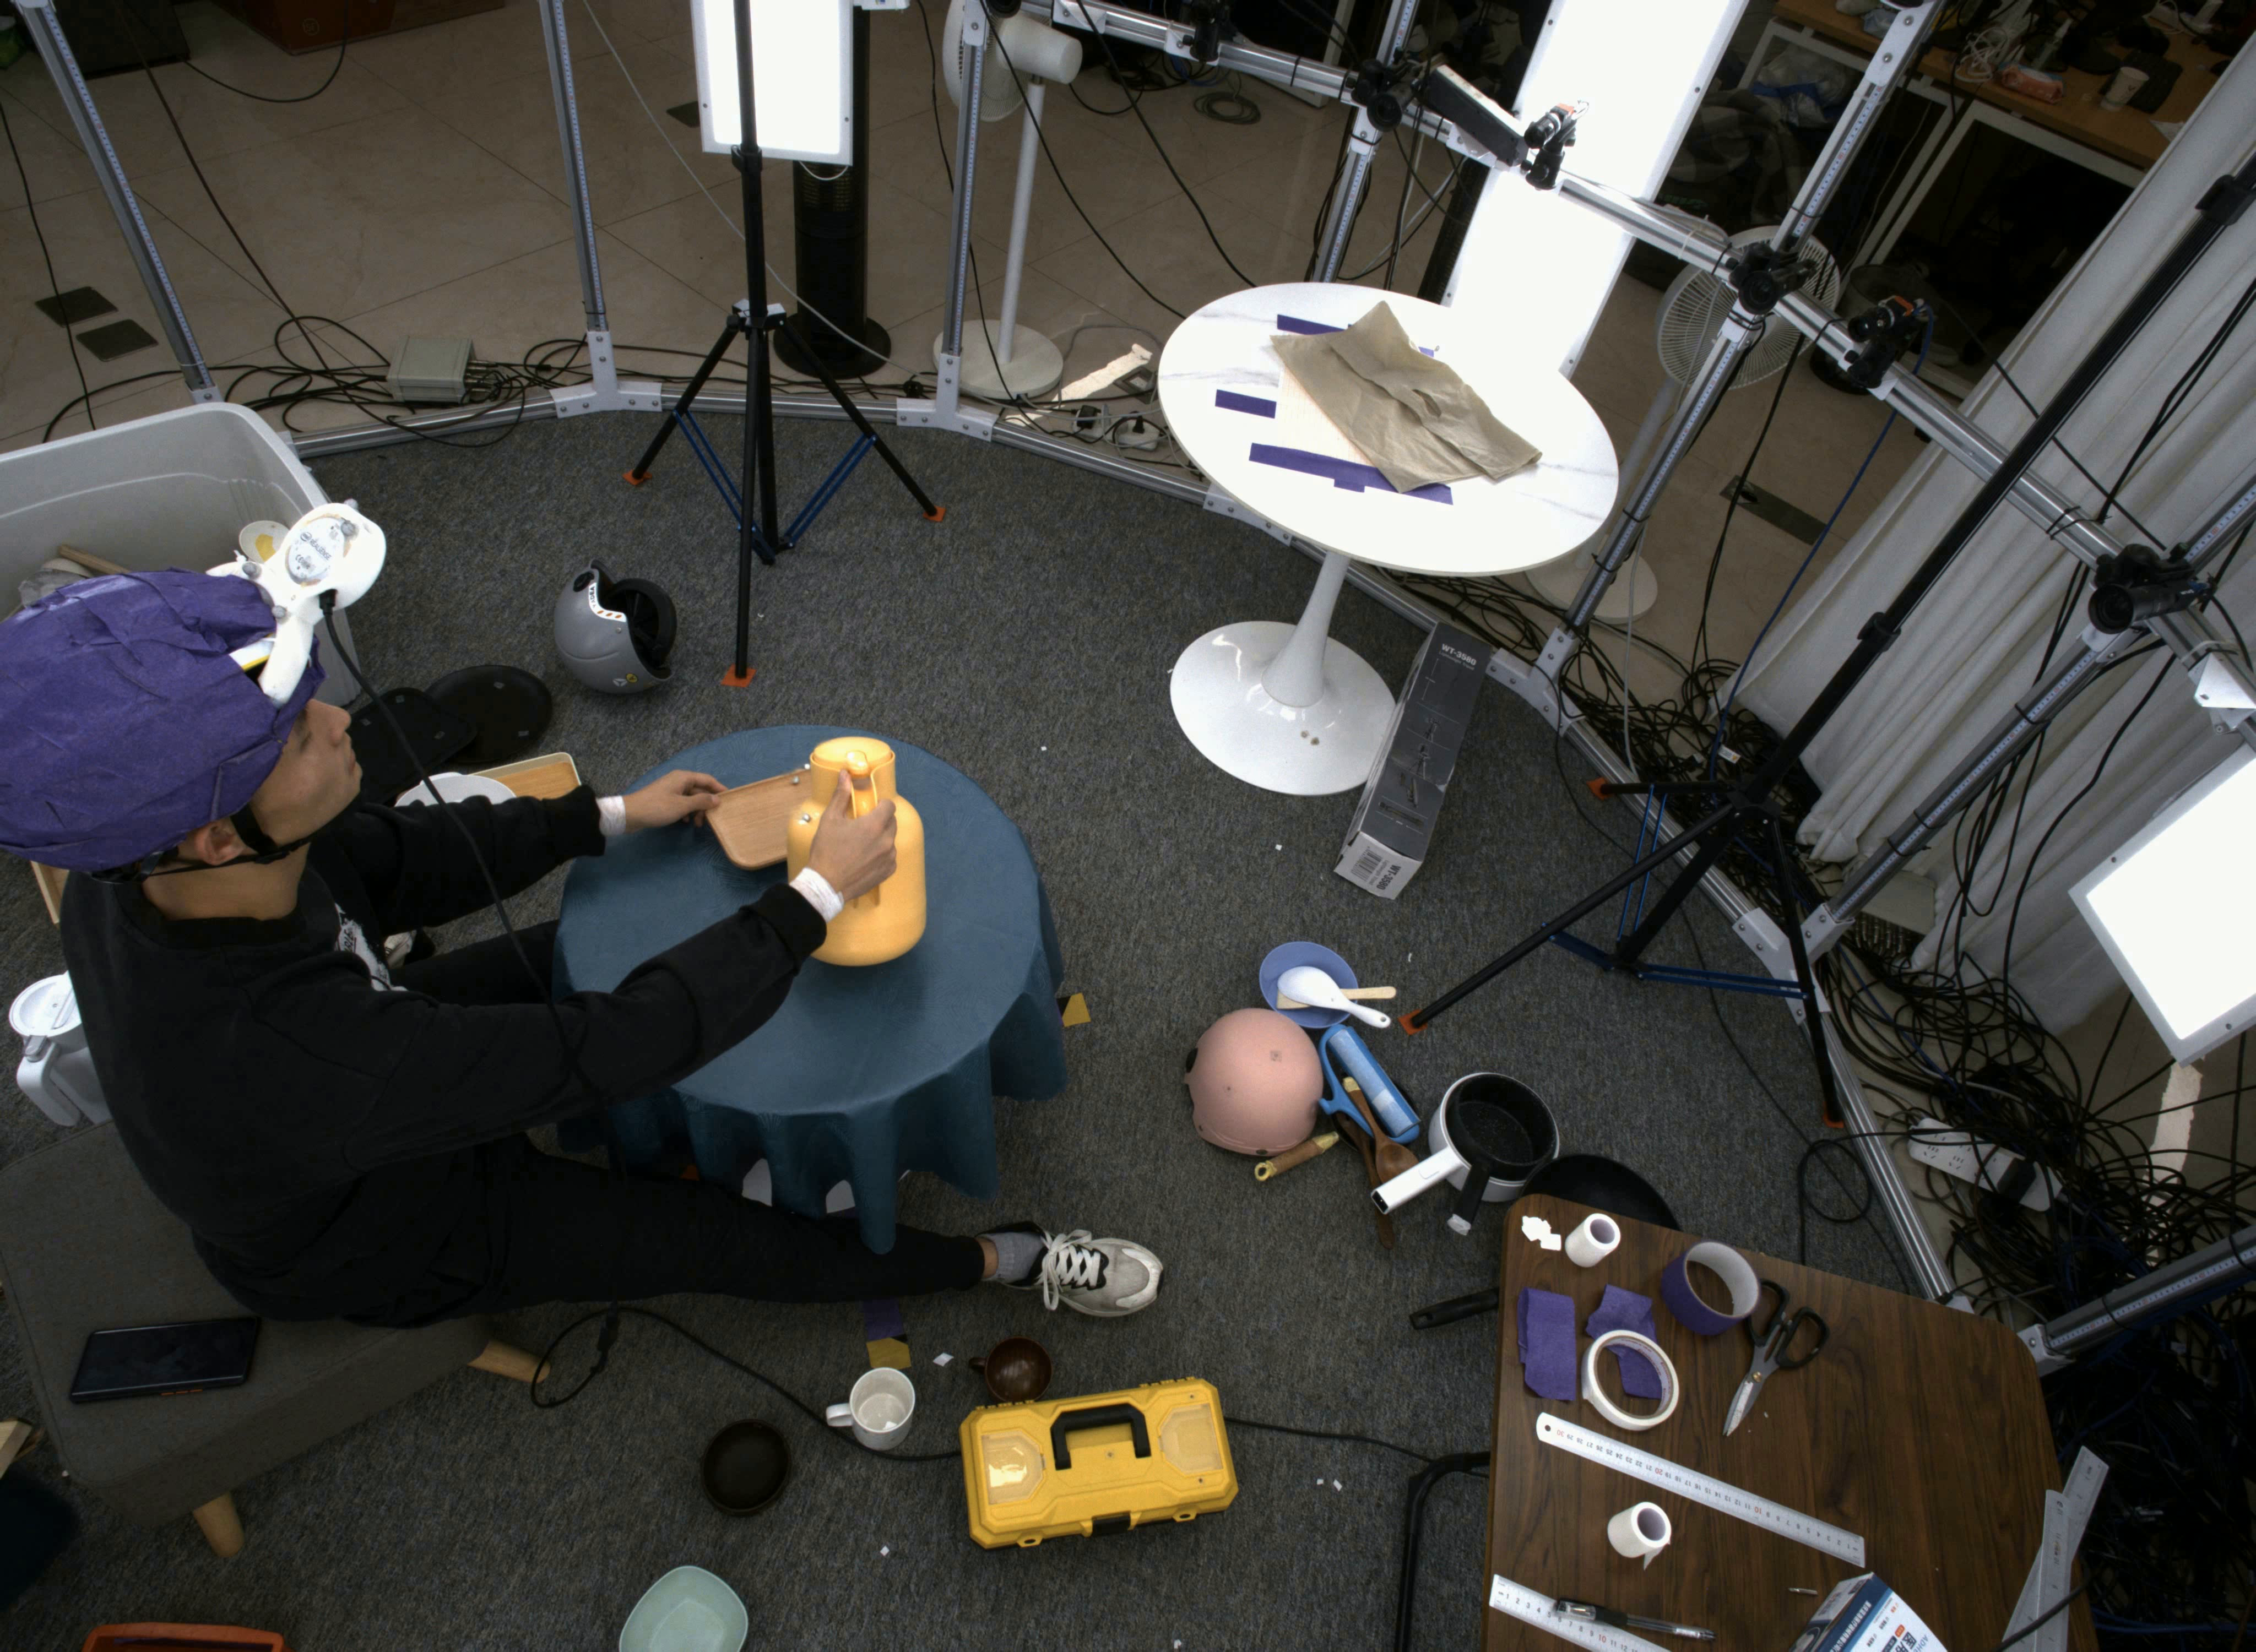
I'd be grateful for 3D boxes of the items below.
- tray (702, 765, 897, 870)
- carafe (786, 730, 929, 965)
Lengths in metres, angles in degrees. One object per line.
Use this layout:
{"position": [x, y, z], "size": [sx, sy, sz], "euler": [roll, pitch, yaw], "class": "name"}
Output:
{"position": [-0.425, -0.022, 1.706], "size": [0.253, 0.023, 0.127], "euler": [-19, 60, -34], "class": "tray"}
{"position": [-0.317, 0.027, 1.514], "size": [0.164, 0.268, 0.196], "euler": [-7, 23, -15], "class": "carafe"}
